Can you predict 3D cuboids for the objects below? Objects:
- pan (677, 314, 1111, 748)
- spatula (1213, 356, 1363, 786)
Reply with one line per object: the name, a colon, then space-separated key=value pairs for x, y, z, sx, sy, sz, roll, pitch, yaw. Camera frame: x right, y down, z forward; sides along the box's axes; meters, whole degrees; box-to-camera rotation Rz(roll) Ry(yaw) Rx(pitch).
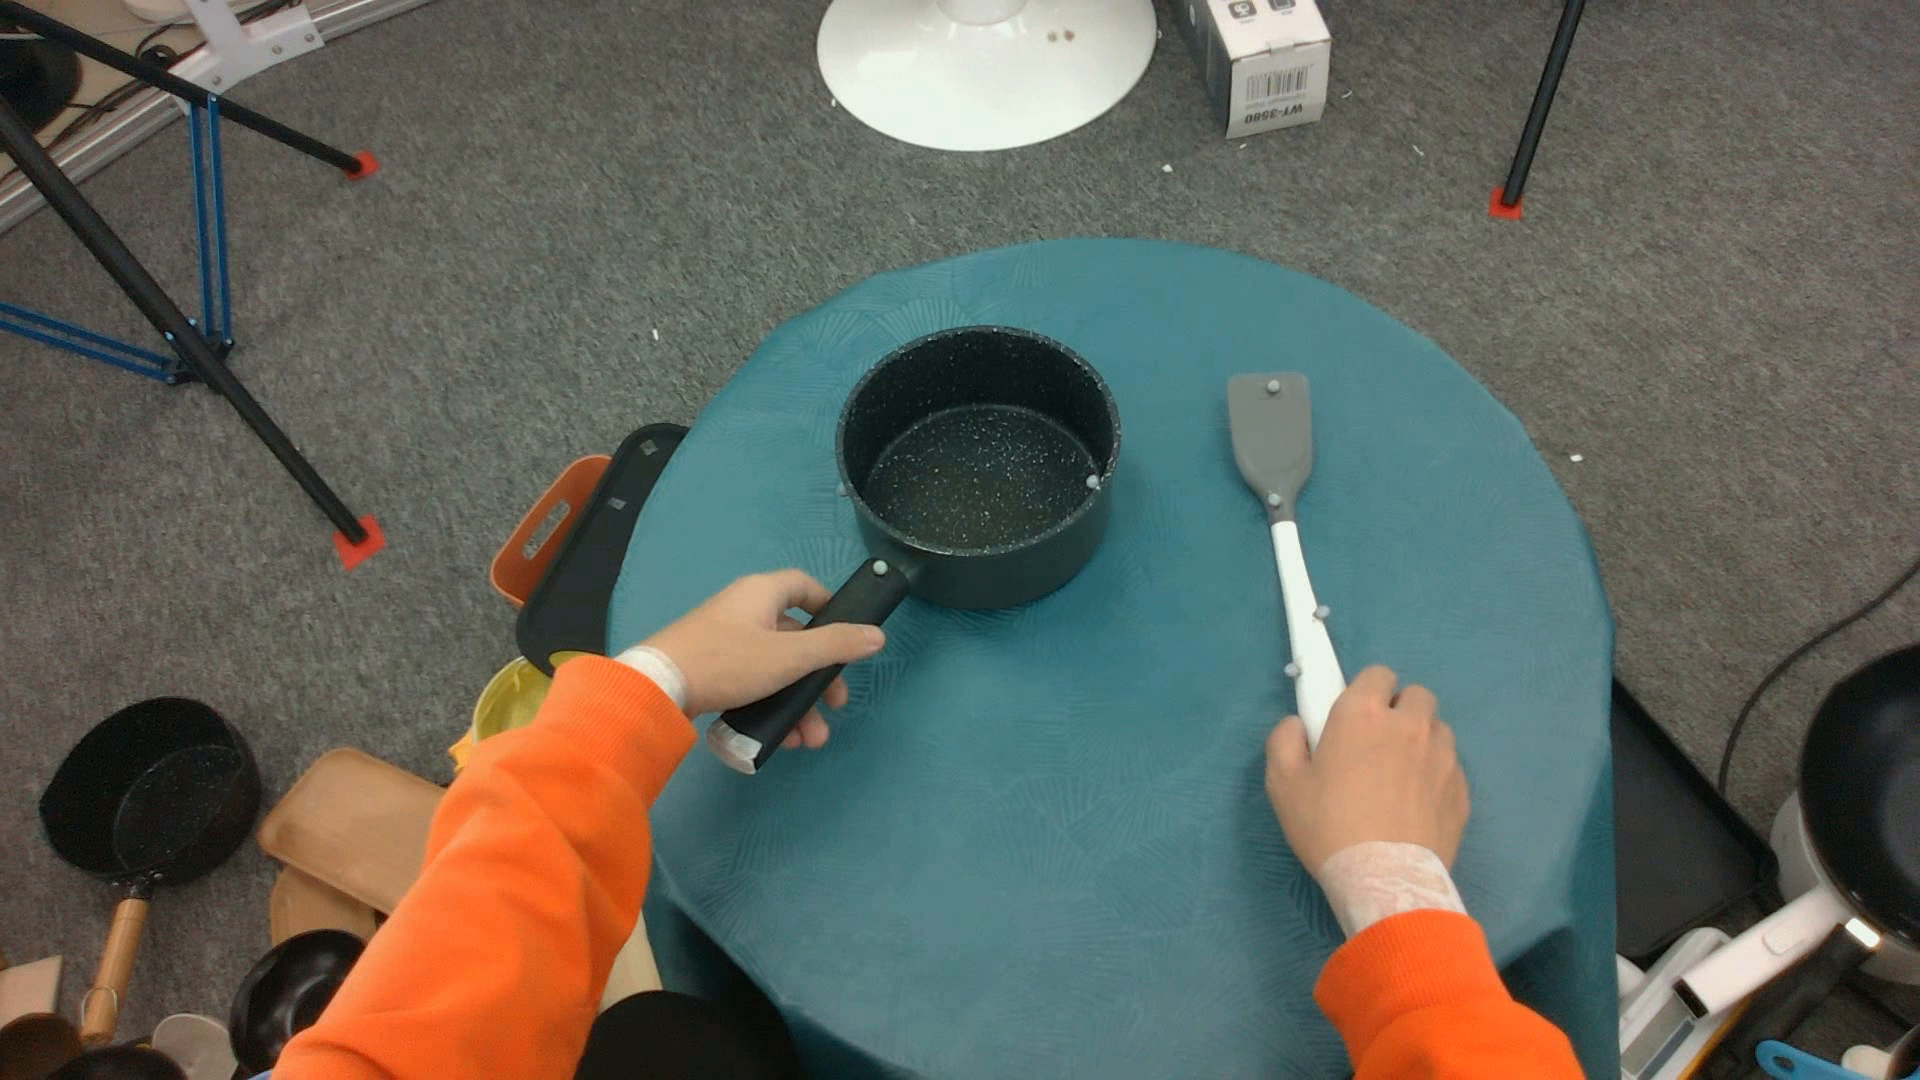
pan: x=-0.039 y=0.005 z=0.809 sx=0.172 sy=0.086 sz=0.330 roll=28 pitch=61 yaw=21
spatula: x=0.196 y=0.007 z=0.823 sx=0.058 sy=0.032 sz=0.289 roll=-6 pitch=57 yaw=5
